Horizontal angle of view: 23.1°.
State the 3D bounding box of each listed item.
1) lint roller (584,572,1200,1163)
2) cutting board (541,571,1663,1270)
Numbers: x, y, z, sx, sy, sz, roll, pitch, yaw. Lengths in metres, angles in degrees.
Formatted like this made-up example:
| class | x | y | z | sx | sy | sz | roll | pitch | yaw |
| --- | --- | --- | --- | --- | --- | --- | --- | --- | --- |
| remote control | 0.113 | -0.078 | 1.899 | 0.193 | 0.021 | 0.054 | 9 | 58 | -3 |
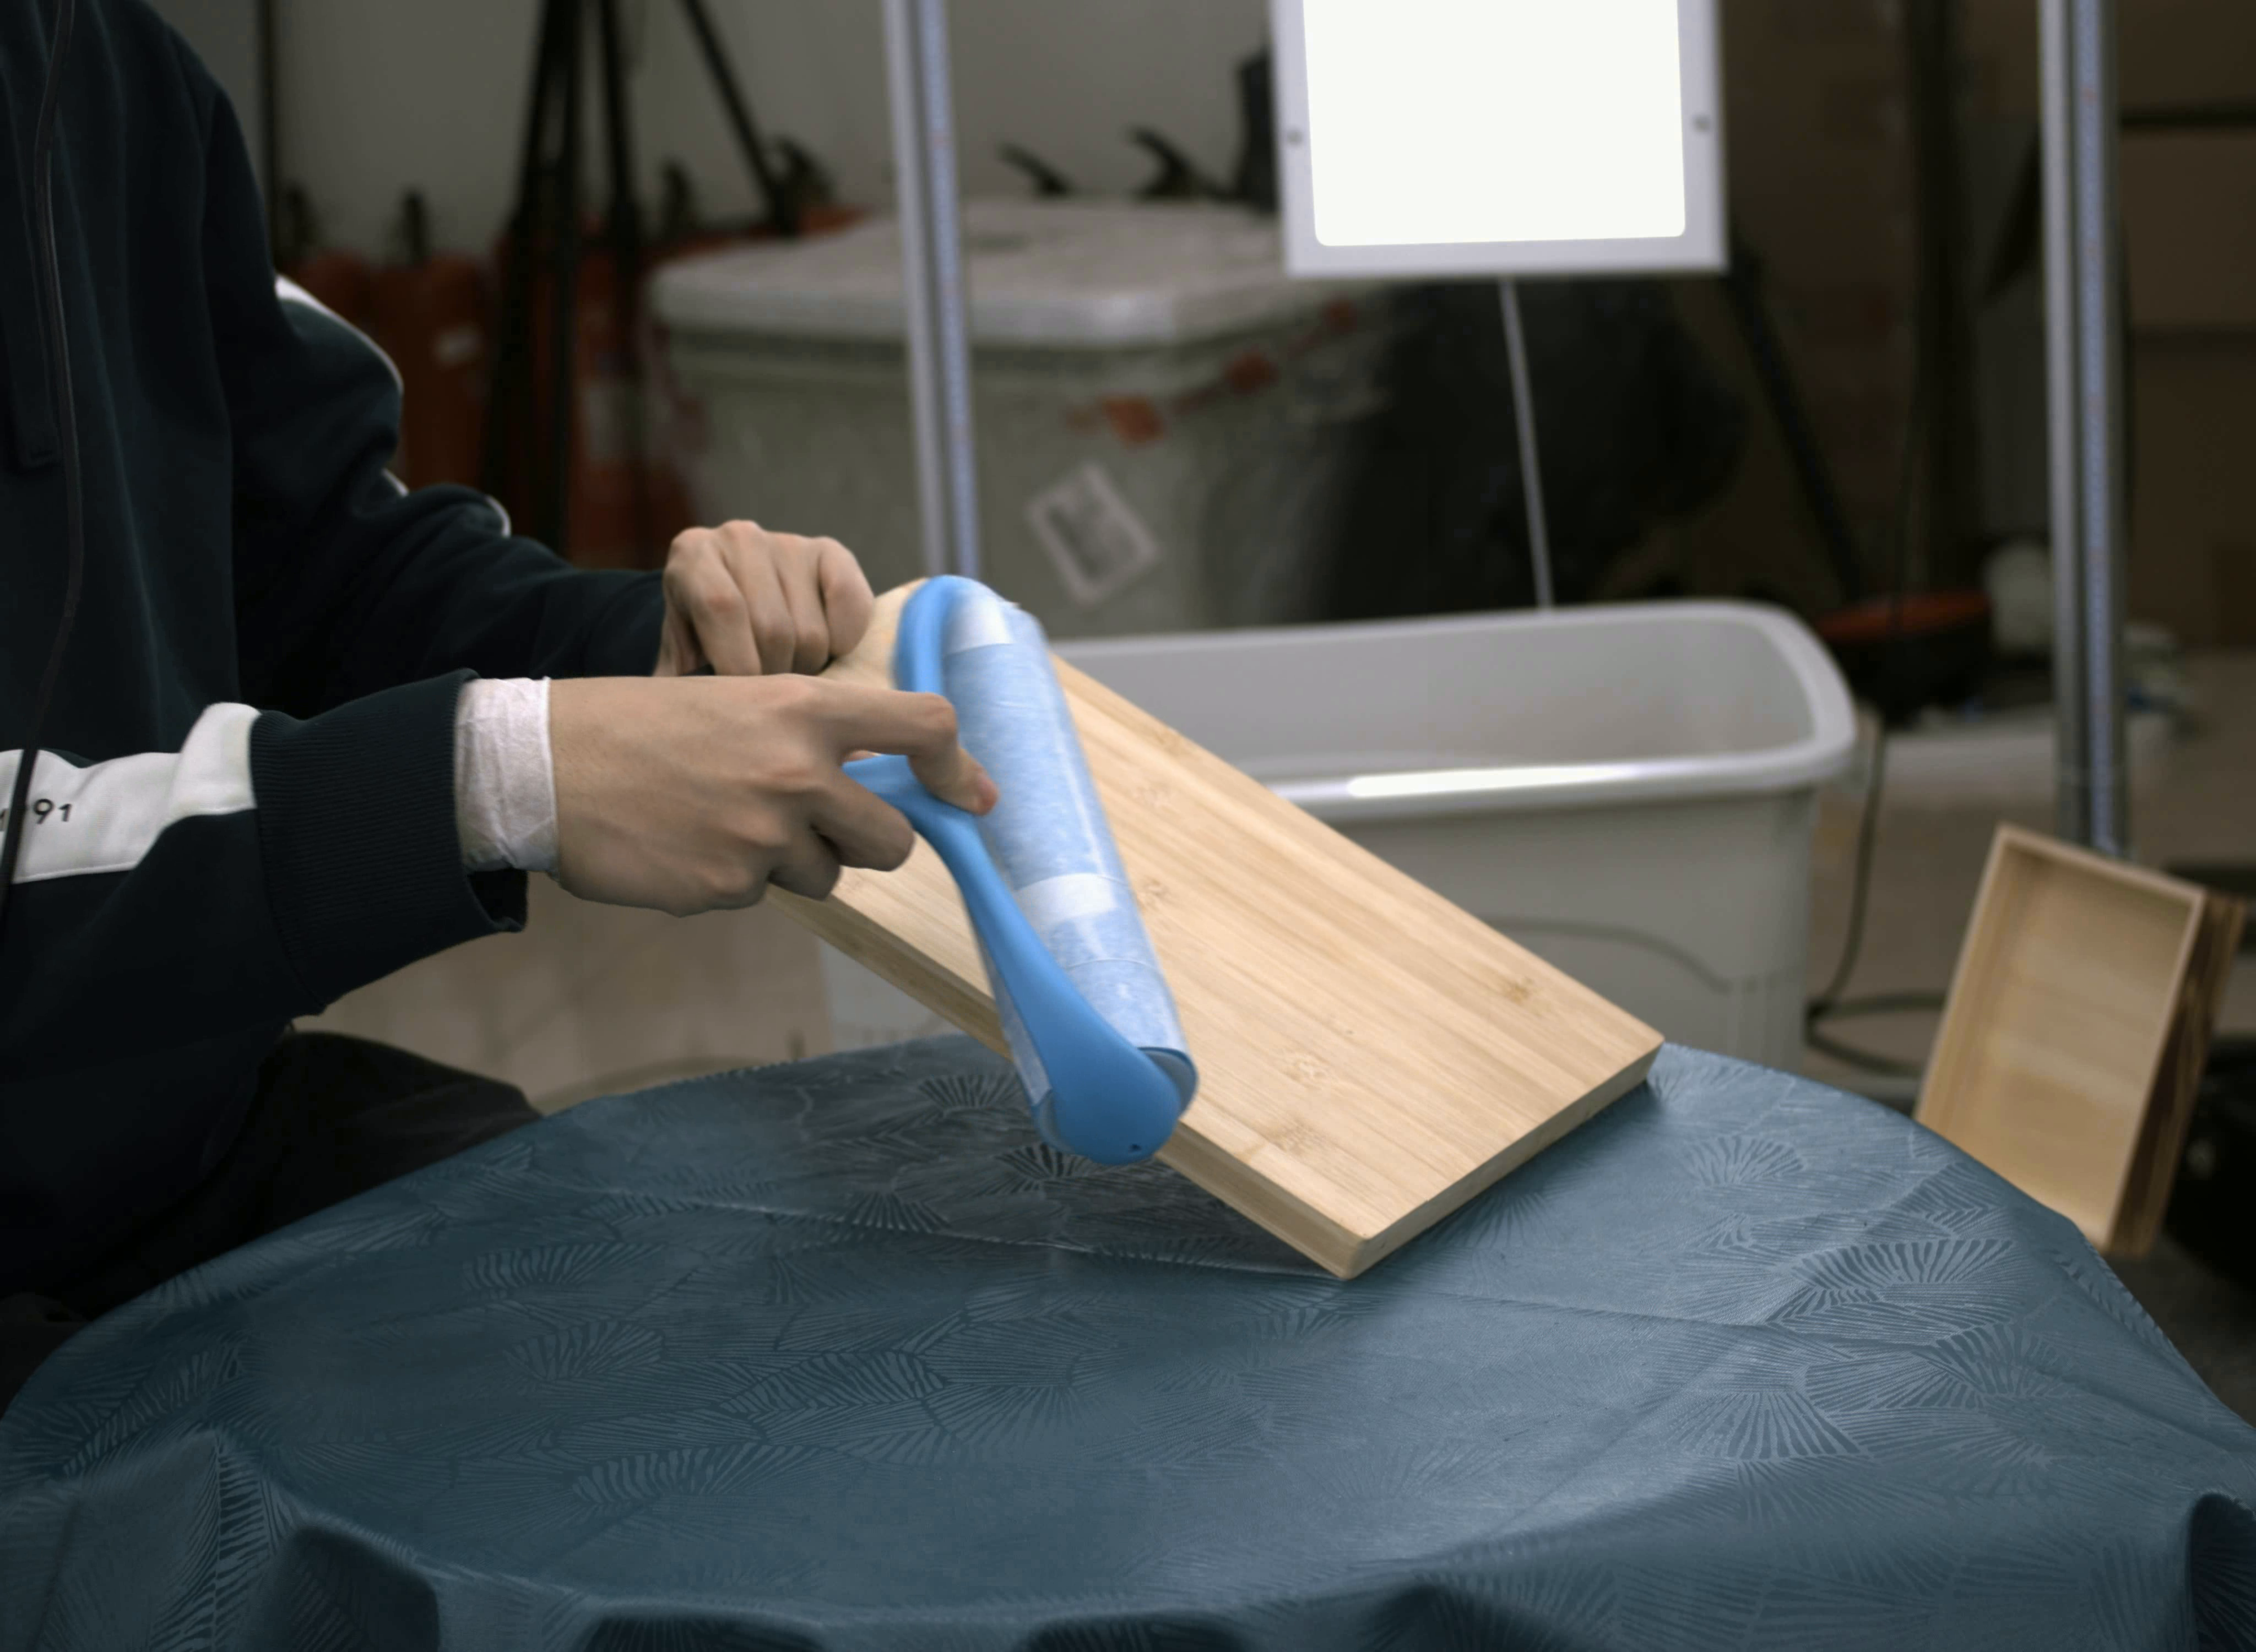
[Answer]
| class | x | y | z | sx | sy | sz | roll | pitch | yaw |
| --- | --- | --- | --- | --- | --- | --- | --- | --- | --- |
| lint roller | -0.079 | 0.007 | 1.733 | 0.176 | 0.069 | 0.230 | 7 | 46 | -34 |
| cutting board | -0.006 | 0.026 | 1.937 | 0.352 | 0.024 | 0.245 | 32 | 28 | 20 |
